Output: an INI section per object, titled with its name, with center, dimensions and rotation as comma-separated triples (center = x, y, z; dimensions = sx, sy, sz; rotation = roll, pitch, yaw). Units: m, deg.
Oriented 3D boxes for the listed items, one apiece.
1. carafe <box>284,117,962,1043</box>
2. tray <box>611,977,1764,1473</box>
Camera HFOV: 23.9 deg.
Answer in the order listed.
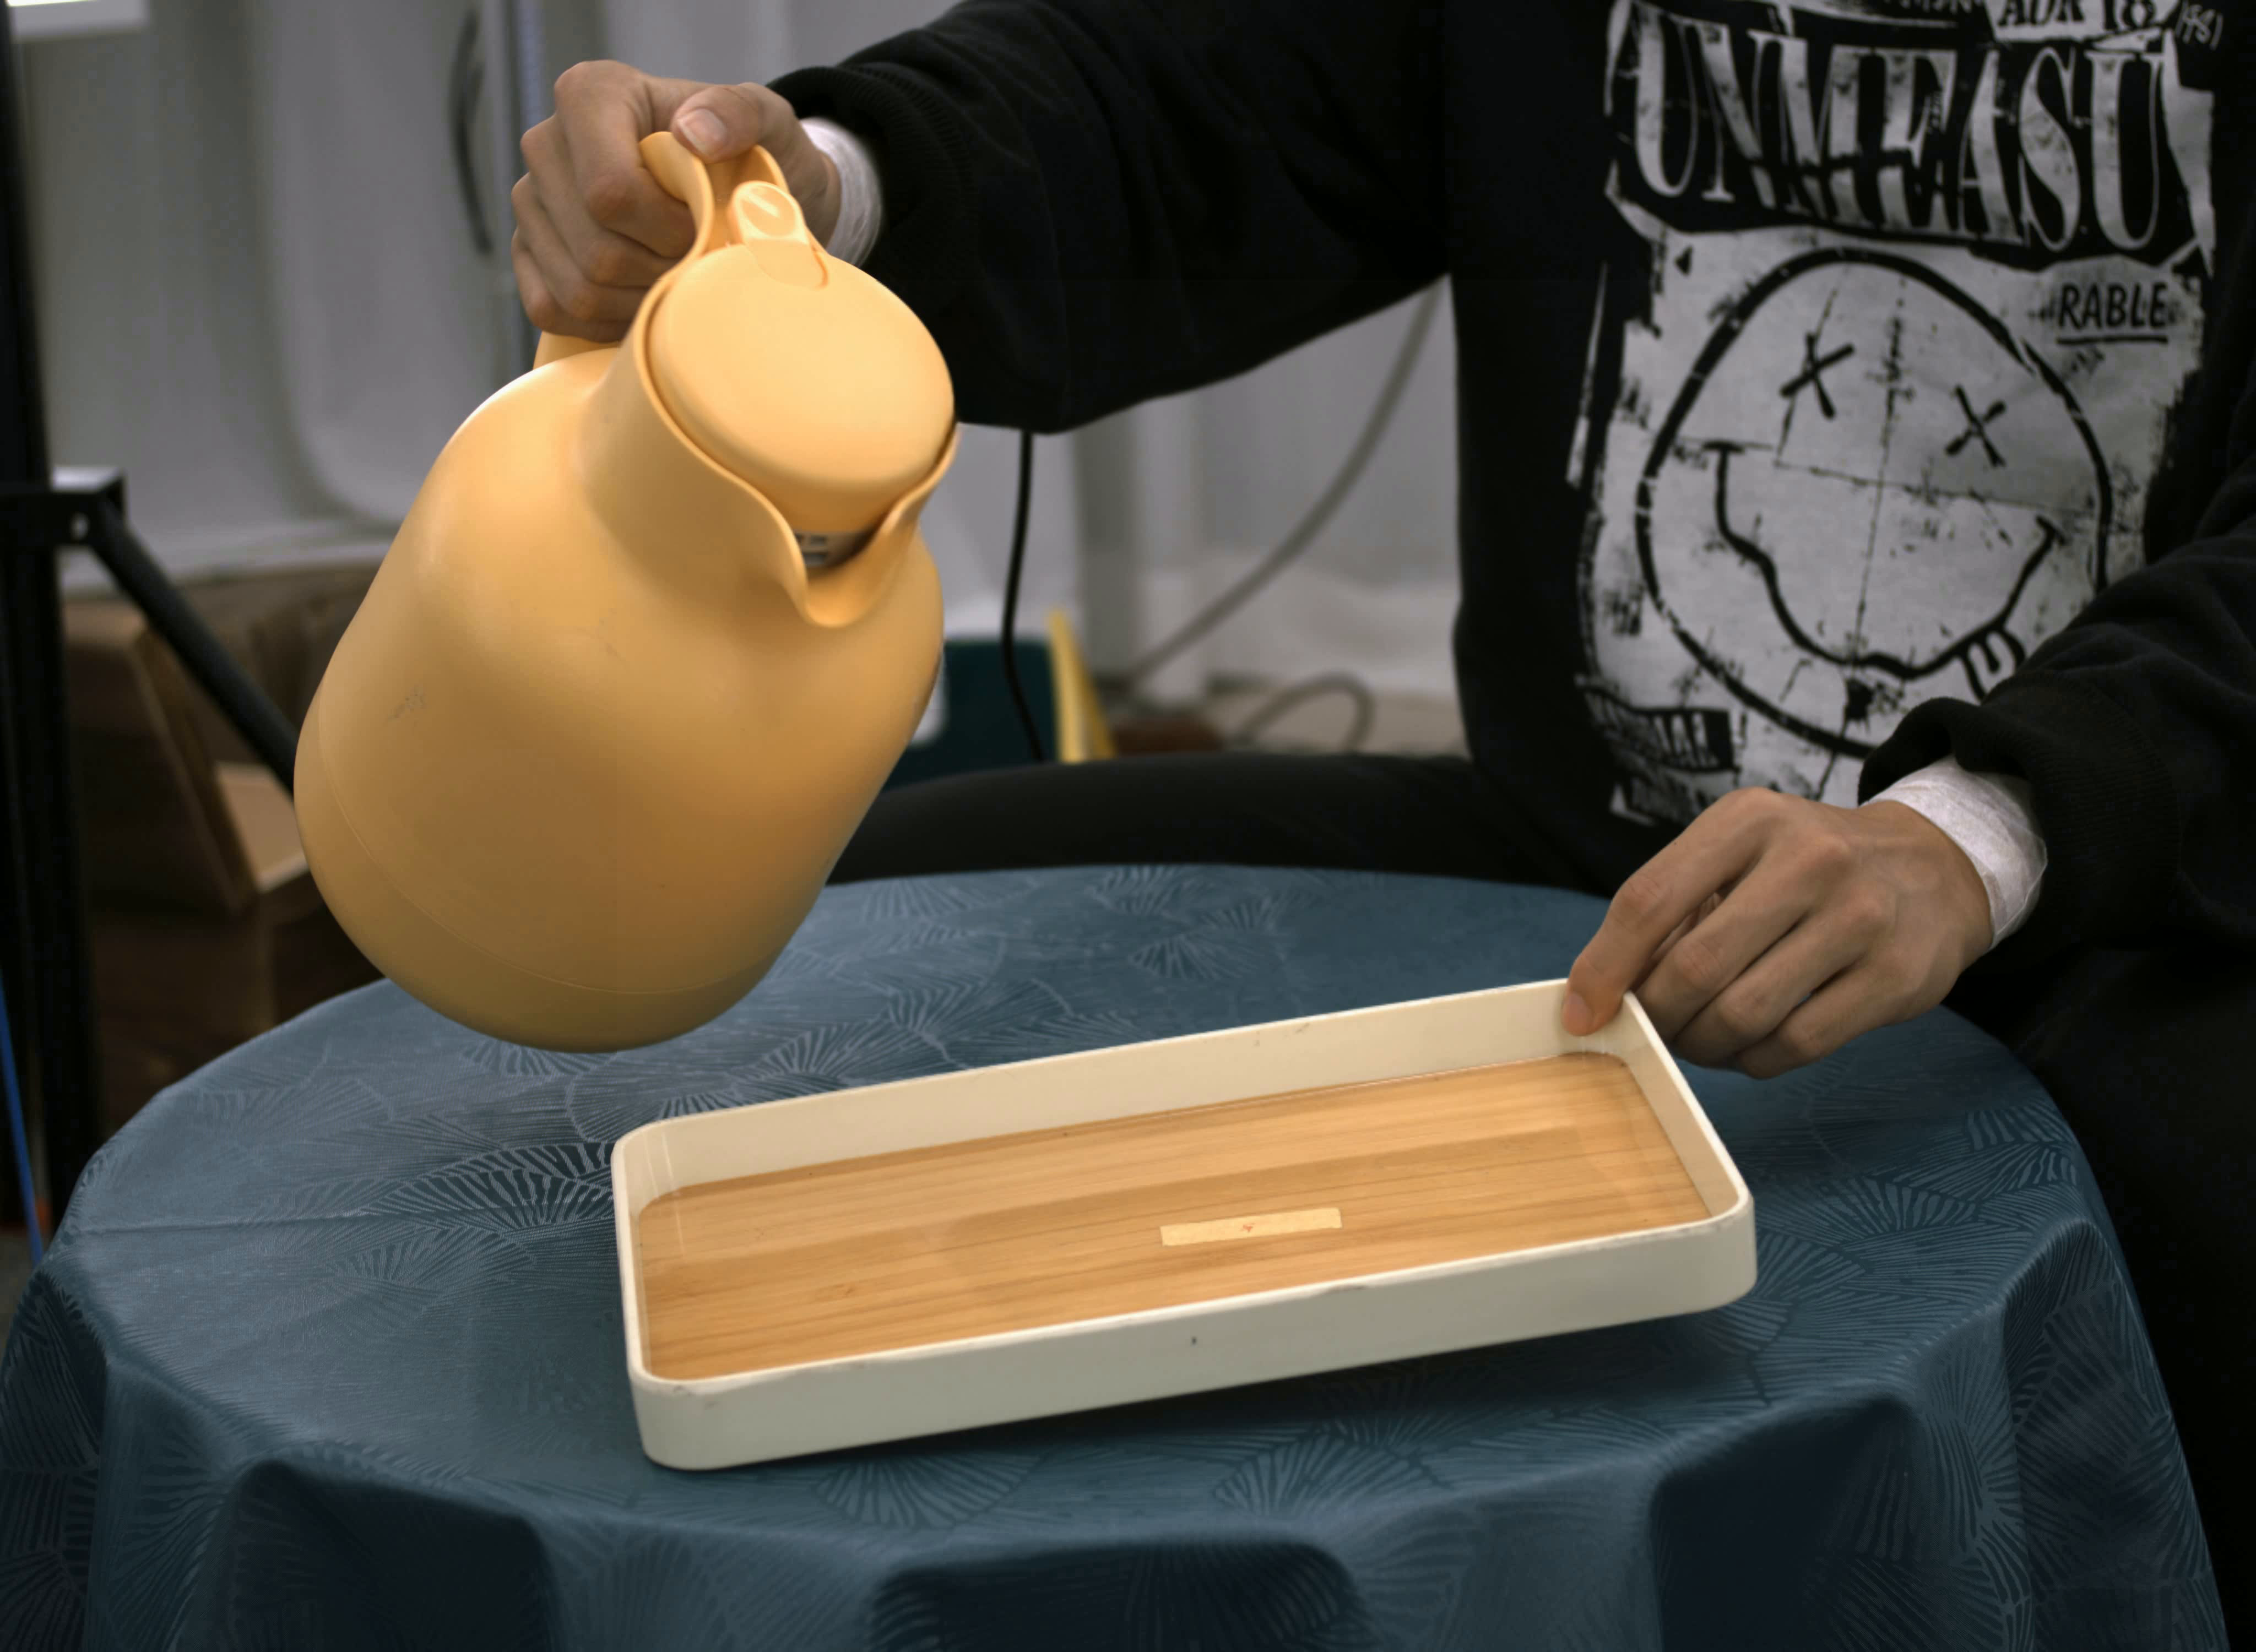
[carafe]
center = -0.140, -0.077, 1.574
dimensions = 0.159, 0.262, 0.205
rotation = 8, 52, -26
[tray]
center = 0.011, 0.106, 1.452
dimensions = 0.298, 0.027, 0.193
rotation = -8, 19, -2
